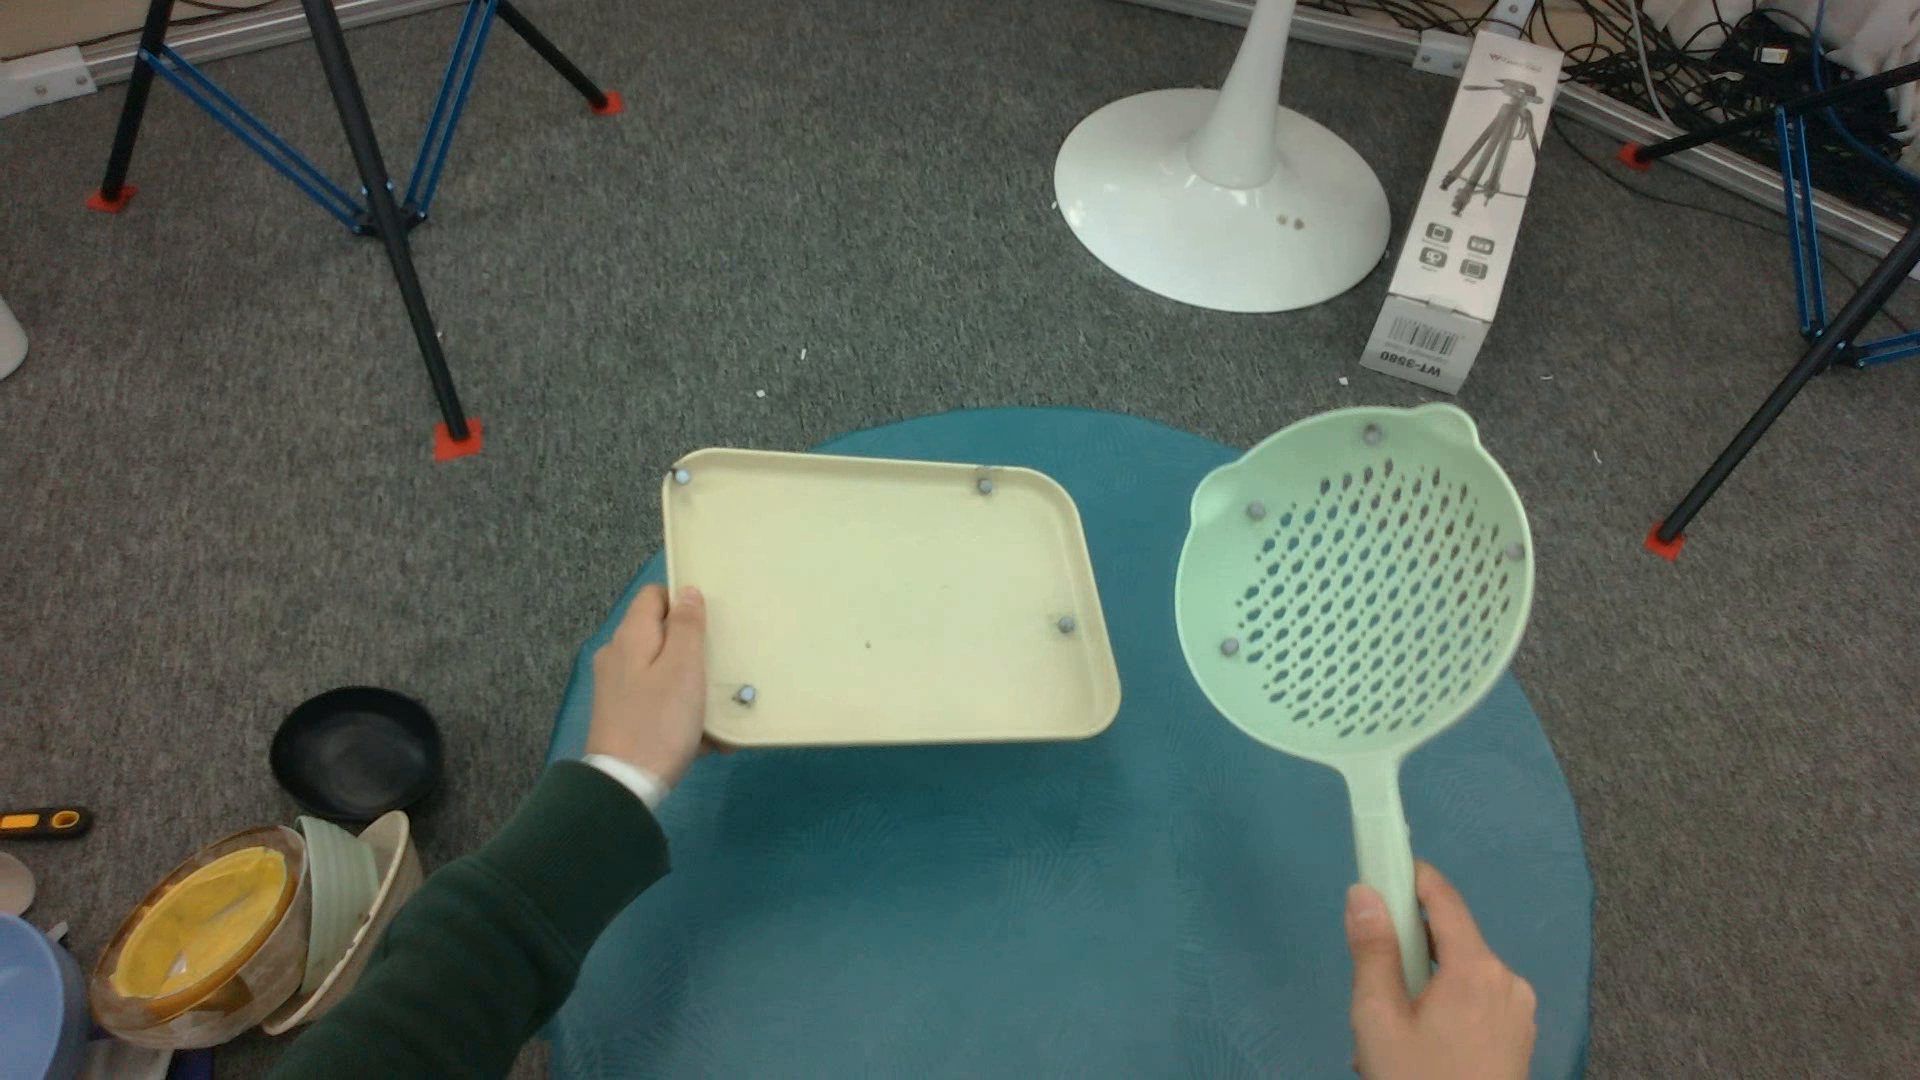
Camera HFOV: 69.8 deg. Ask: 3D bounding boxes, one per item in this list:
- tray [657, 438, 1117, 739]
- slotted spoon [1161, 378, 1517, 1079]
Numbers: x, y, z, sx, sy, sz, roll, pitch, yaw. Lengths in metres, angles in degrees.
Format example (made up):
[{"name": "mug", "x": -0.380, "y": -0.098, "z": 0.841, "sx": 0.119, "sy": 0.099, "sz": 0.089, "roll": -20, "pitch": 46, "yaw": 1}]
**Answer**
[{"name": "tray", "x": -0.038, "y": 0.024, "z": 0.728, "sx": 0.240, "sy": 0.017, "sz": 0.172, "roll": 2, "pitch": 59, "yaw": -22}, {"name": "slotted spoon", "x": 0.182, "y": 0.103, "z": 0.609, "sx": 0.168, "sy": 0.075, "sz": 0.360, "roll": -19, "pitch": 59, "yaw": 35}]
